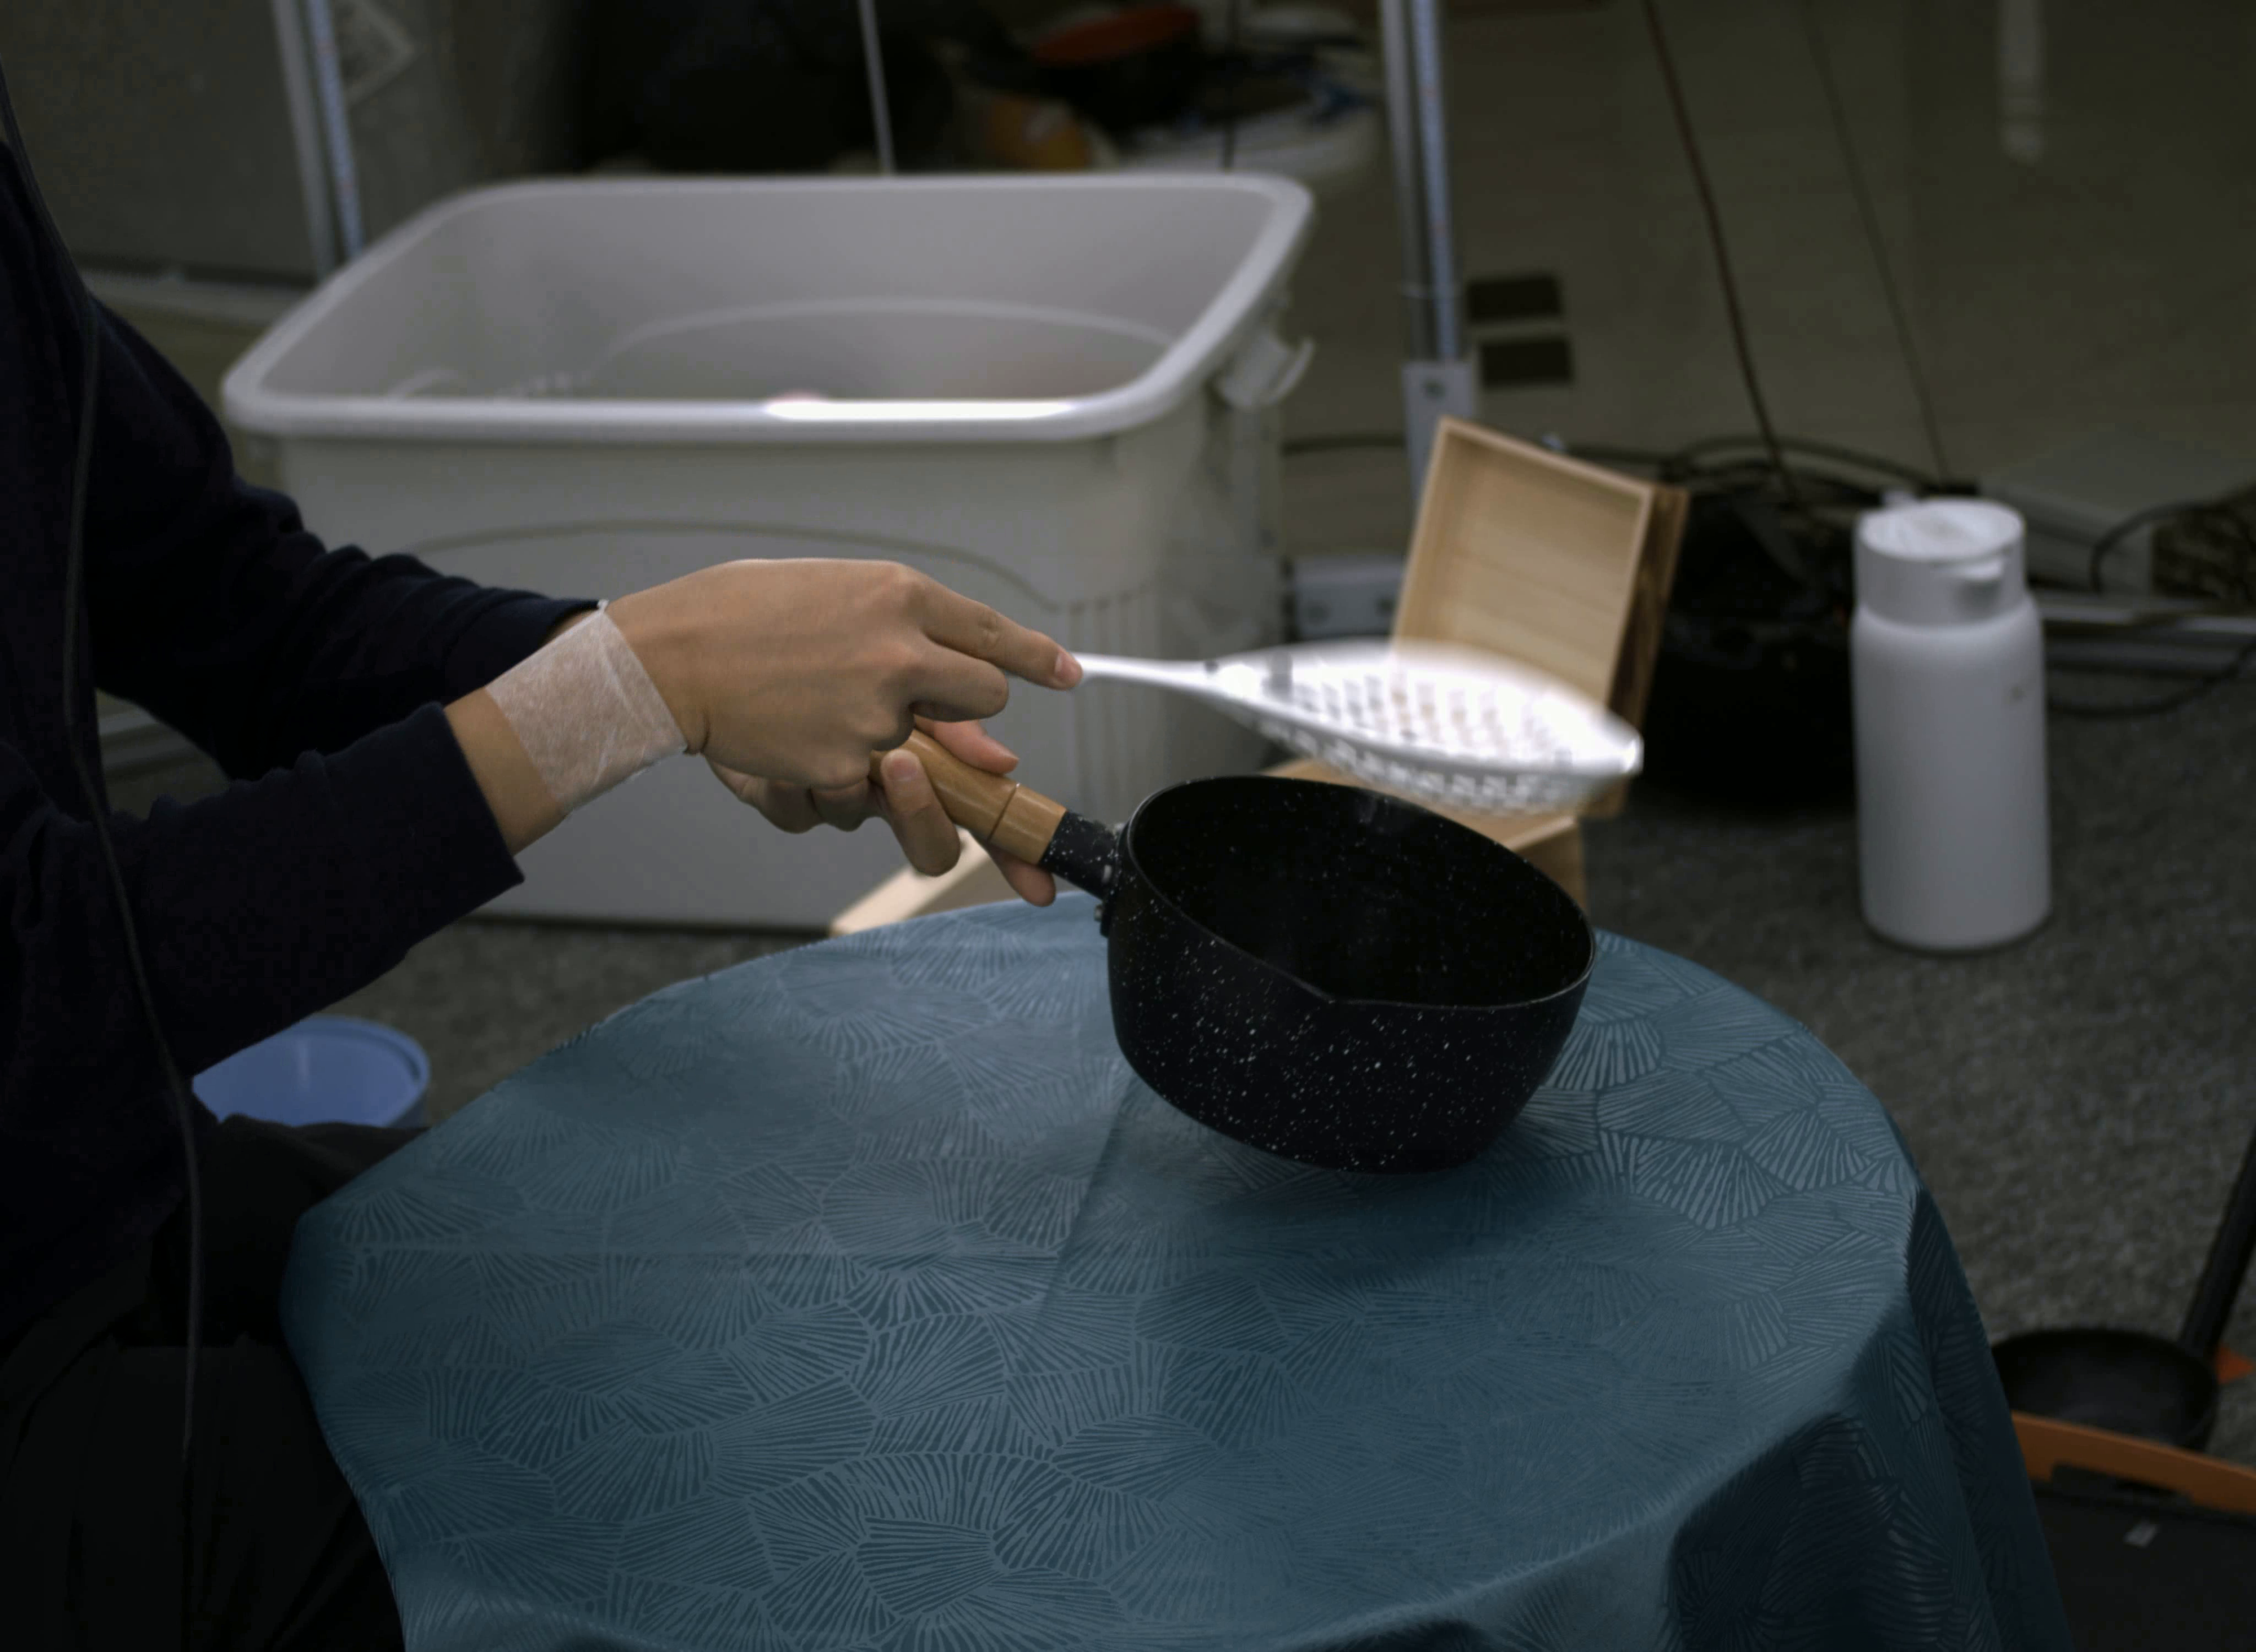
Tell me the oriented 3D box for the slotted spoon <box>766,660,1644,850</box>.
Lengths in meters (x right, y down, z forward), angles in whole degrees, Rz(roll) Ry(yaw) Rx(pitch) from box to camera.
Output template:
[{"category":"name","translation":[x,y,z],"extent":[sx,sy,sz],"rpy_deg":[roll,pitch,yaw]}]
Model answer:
[{"category":"slotted spoon","translation":[0.027,-0.036,2.079],"extent":[0.349,0.050,0.135],"rpy_deg":[13,11,-28]}]

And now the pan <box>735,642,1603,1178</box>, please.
[{"category":"pan","translation":[0.005,0.028,2.142],"extent":[0.342,0.110,0.204],"rpy_deg":[17,24,-1]}]
